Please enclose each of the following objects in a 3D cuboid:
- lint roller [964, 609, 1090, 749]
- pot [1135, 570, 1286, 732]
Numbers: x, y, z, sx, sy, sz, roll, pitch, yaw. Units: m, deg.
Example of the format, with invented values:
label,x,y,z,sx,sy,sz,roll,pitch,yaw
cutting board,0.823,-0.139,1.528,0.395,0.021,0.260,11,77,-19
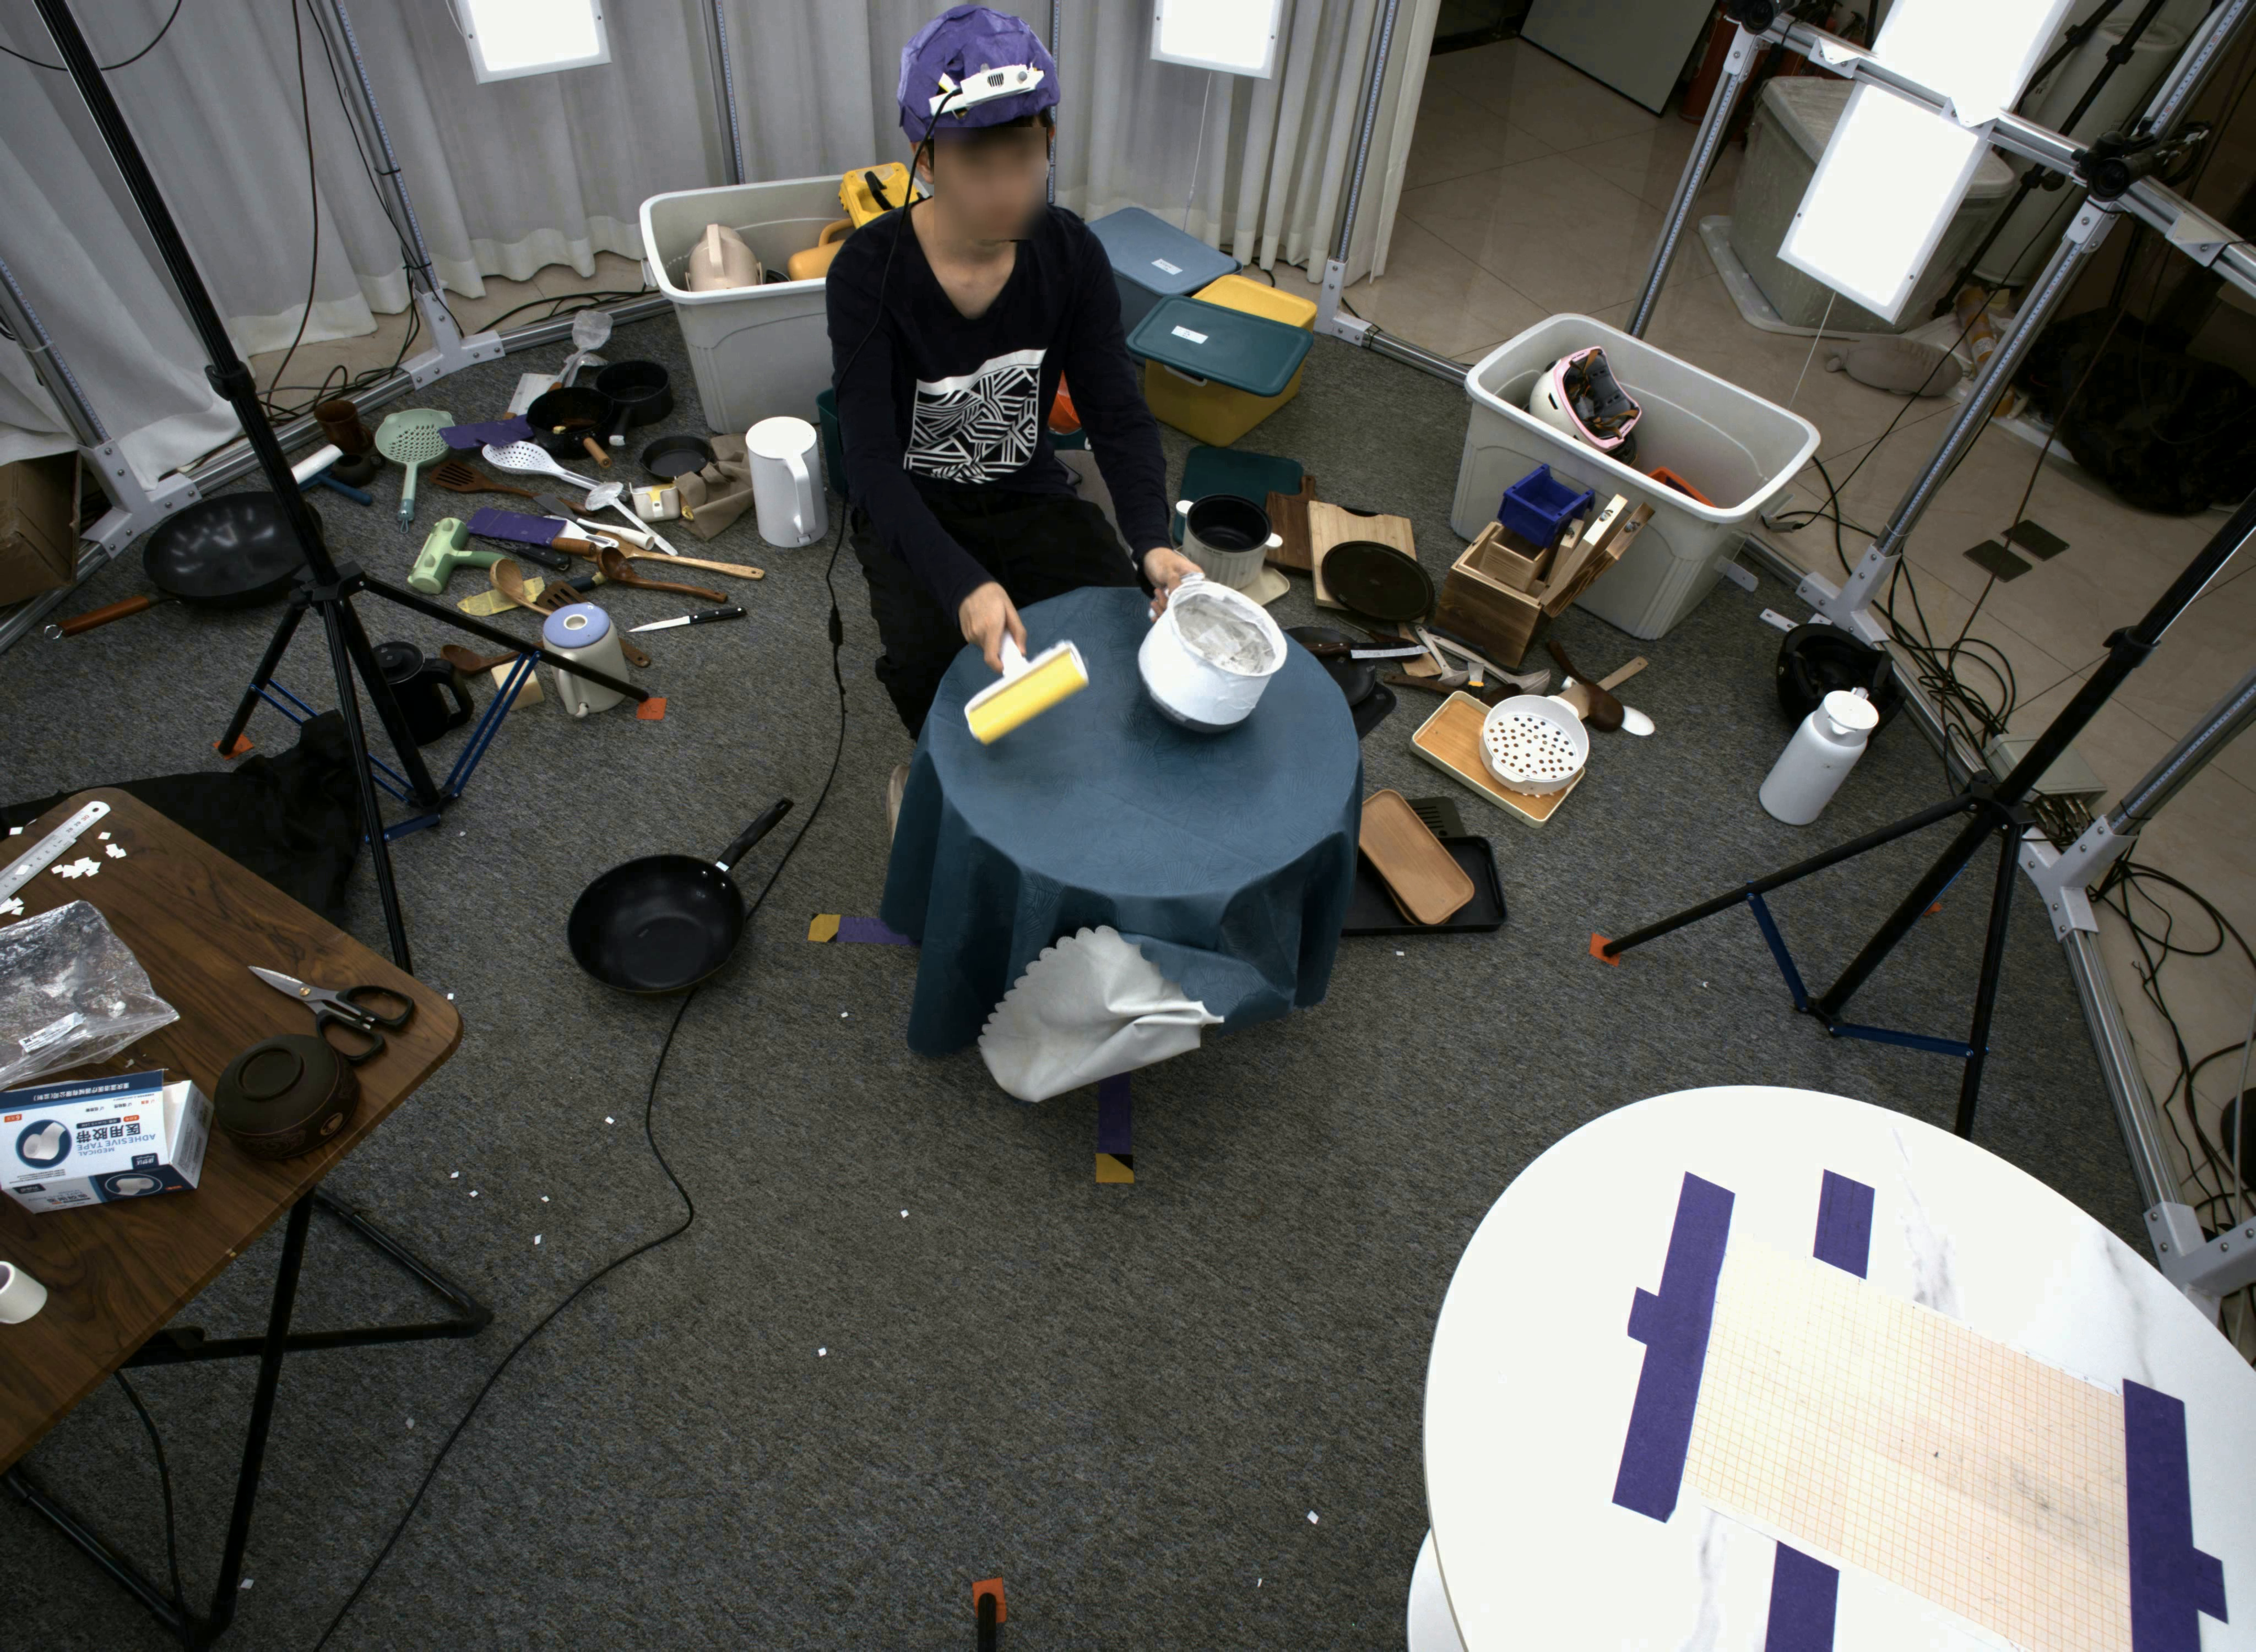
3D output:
label,x,y,z,sx,sy,sz,roll,pitch,yaw
lint roller,-0.161,-0.221,1.721,0.174,0.050,0.195,-30,67,8
pot,0.098,-0.250,1.770,0.178,0.134,0.239,-3,55,-32
